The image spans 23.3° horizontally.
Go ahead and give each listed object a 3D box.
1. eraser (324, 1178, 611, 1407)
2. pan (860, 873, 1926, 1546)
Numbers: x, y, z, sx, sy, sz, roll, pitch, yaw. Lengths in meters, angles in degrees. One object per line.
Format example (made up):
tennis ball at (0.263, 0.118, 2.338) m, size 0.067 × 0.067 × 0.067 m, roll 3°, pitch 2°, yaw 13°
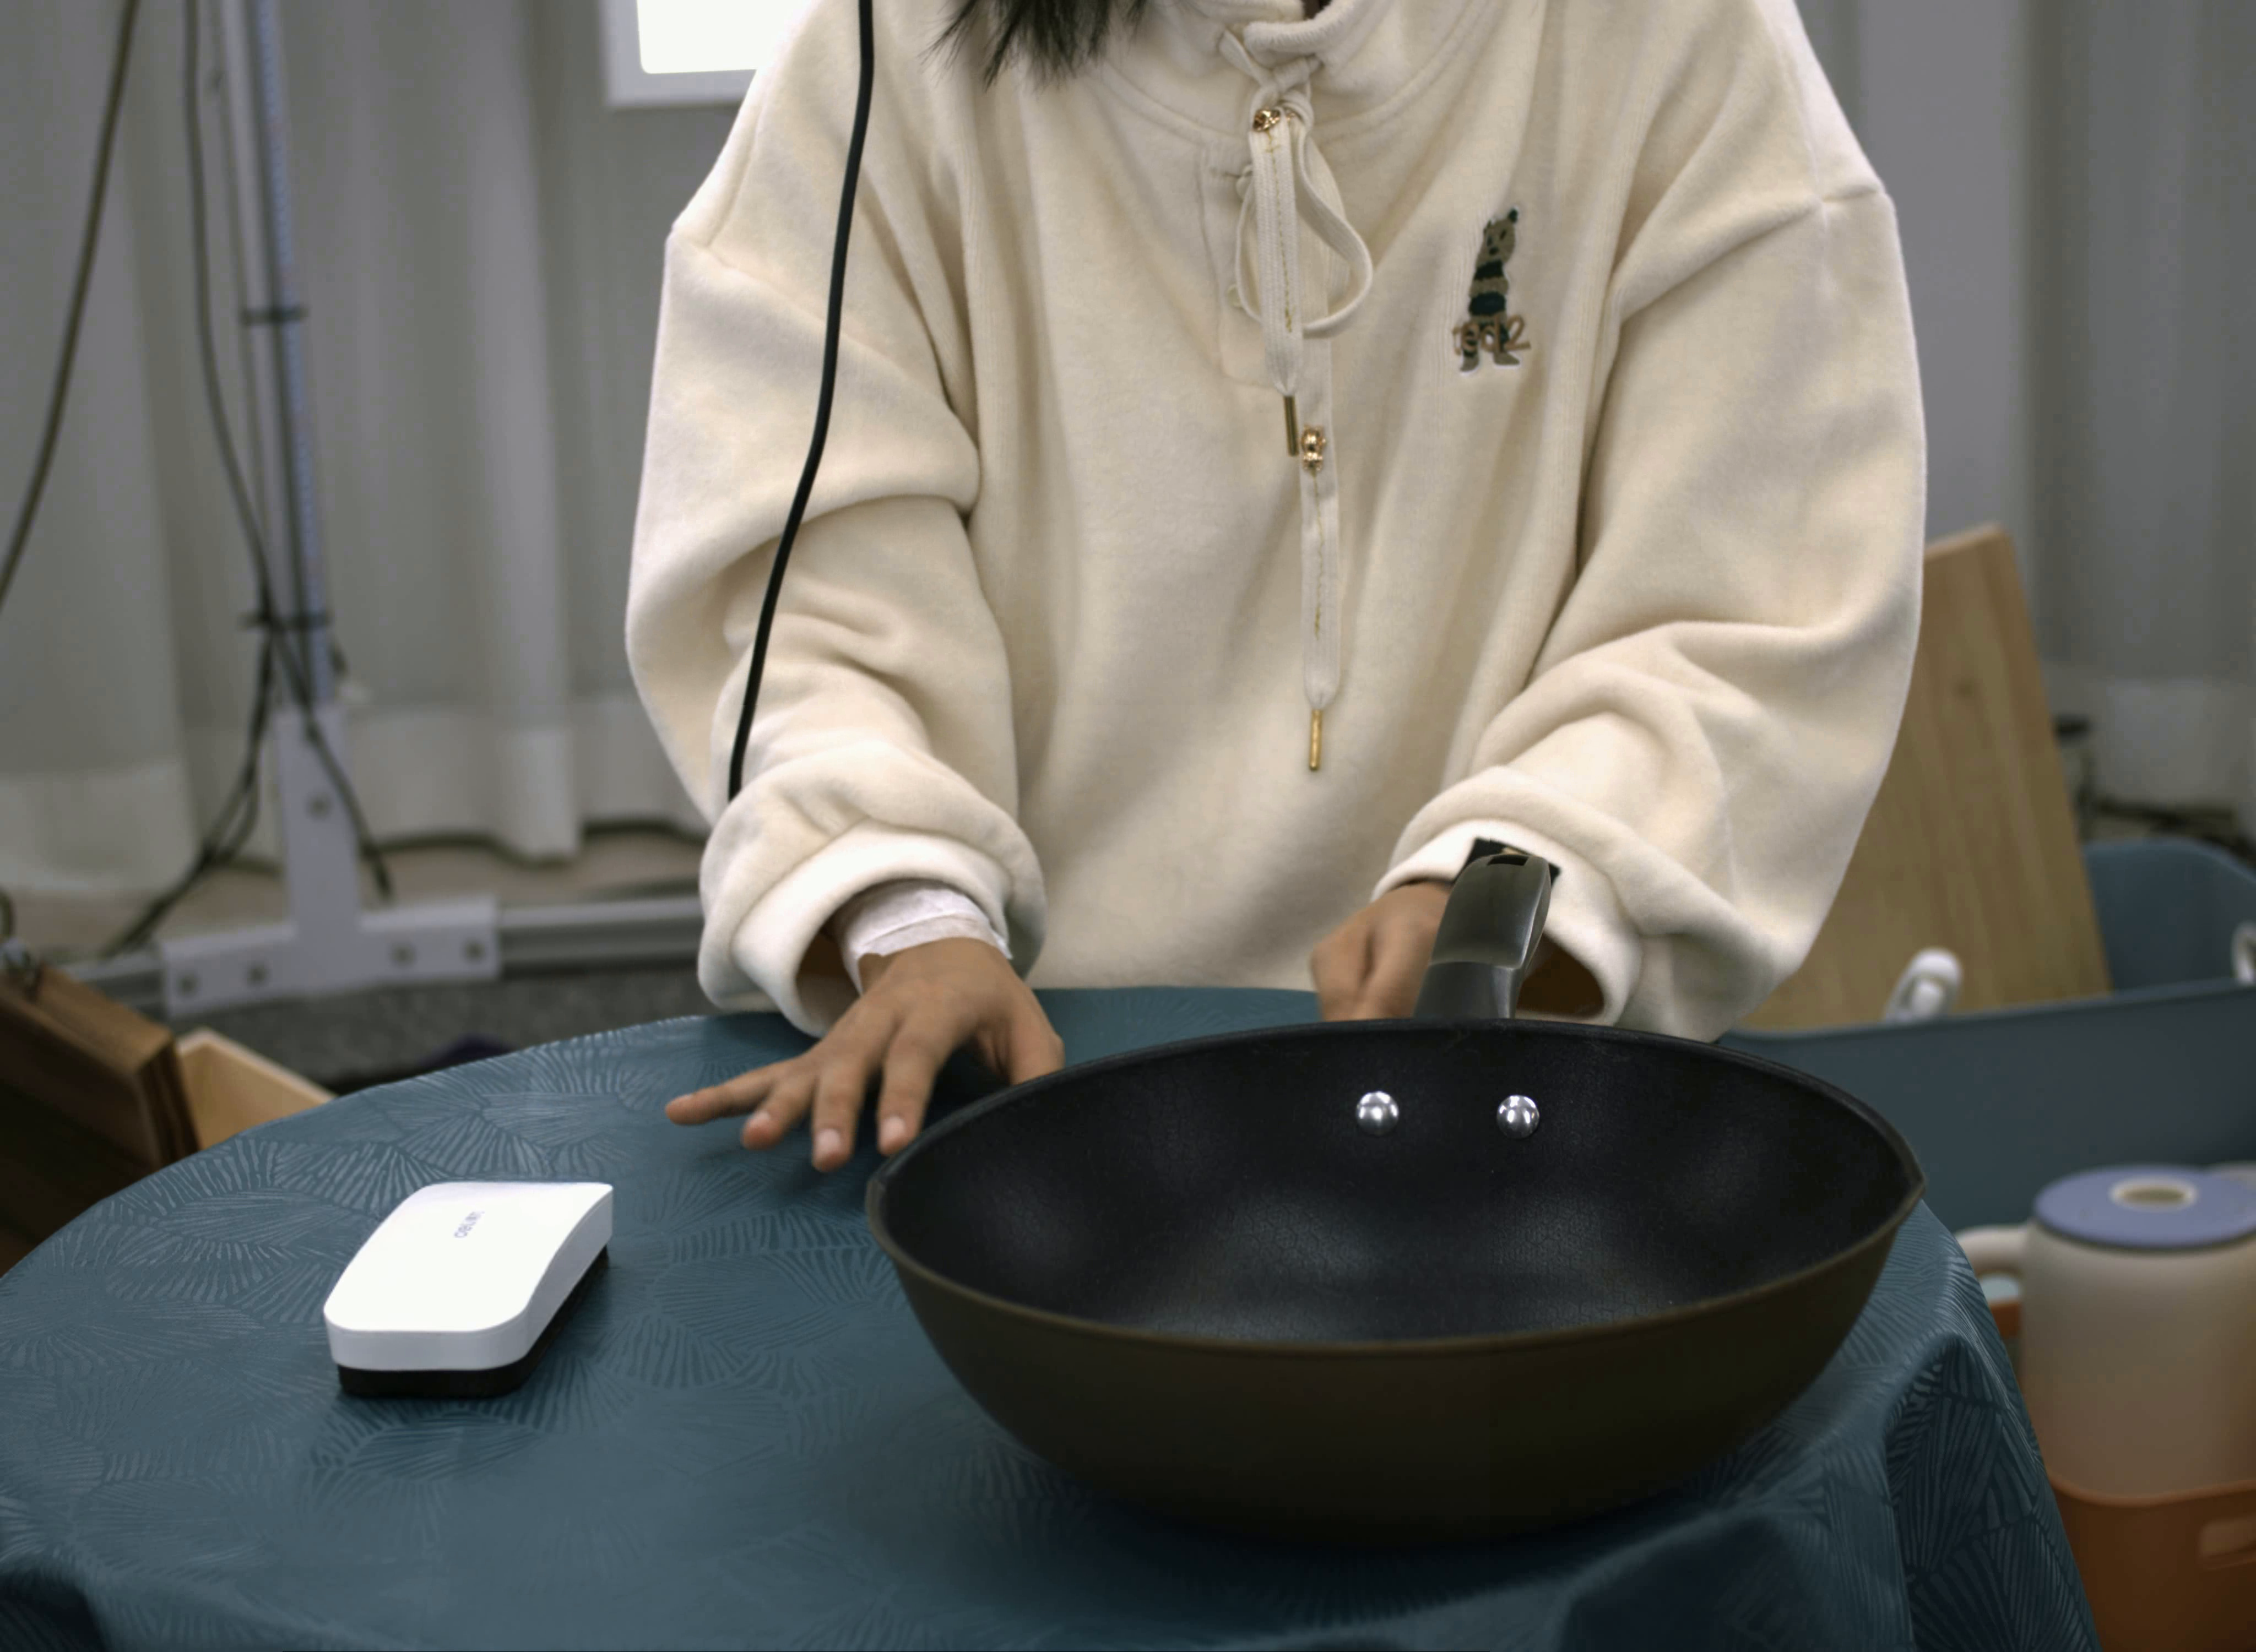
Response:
eraser at (-0.193, 0.134, 1.621) m, size 0.063 × 0.034 × 0.132 m, roll 2°, pitch 16°, yaw 8°
pan at (0.088, 0.107, 1.567) m, size 0.288 × 0.086 × 0.465 m, roll 1°, pitch 14°, yaw 11°
